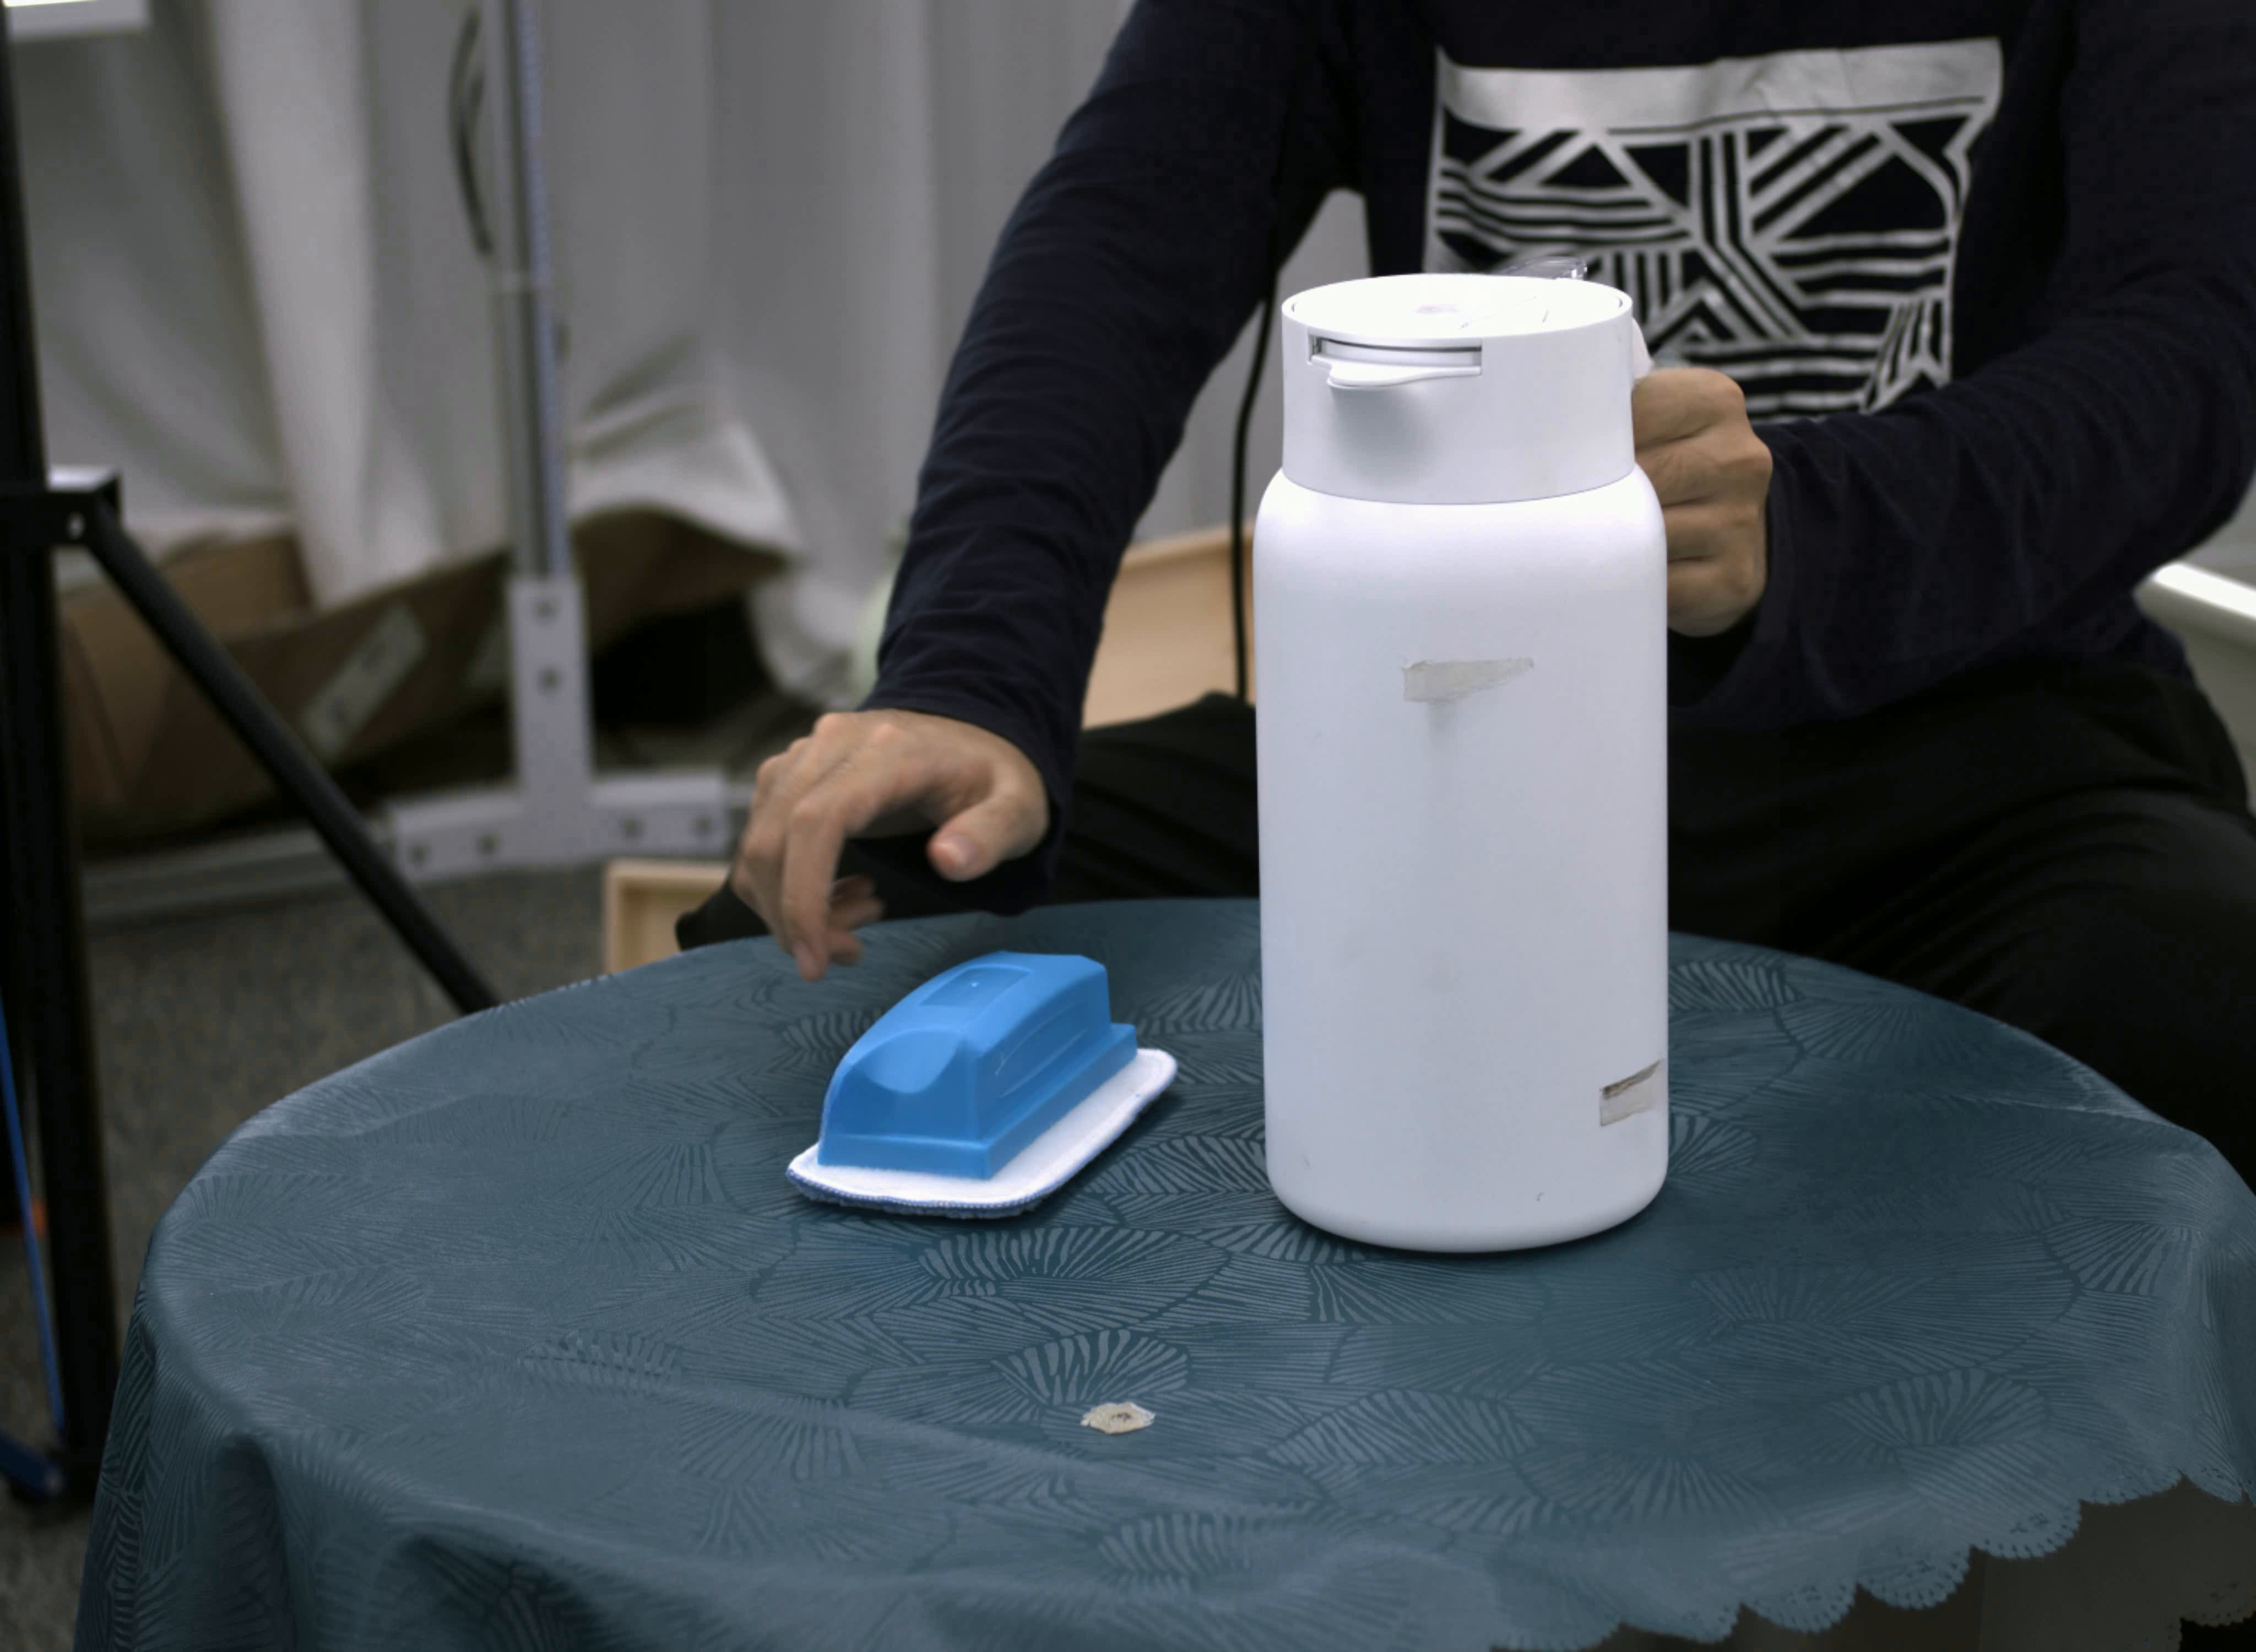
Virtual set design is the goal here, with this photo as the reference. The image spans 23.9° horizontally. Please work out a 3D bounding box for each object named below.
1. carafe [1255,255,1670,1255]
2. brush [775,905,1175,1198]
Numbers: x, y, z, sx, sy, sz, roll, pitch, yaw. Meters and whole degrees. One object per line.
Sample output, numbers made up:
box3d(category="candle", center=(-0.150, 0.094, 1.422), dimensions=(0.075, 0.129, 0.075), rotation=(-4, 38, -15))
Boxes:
box3d(category="carafe", center=(0.101, -0.024, 1.525), dimensions=(0.126, 0.269, 0.170), rotation=(4, 15, 27))
box3d(category="brush", center=(-0.044, 0.064, 1.606), dimensions=(0.085, 0.056, 0.142), rotation=(7, 22, 23))
